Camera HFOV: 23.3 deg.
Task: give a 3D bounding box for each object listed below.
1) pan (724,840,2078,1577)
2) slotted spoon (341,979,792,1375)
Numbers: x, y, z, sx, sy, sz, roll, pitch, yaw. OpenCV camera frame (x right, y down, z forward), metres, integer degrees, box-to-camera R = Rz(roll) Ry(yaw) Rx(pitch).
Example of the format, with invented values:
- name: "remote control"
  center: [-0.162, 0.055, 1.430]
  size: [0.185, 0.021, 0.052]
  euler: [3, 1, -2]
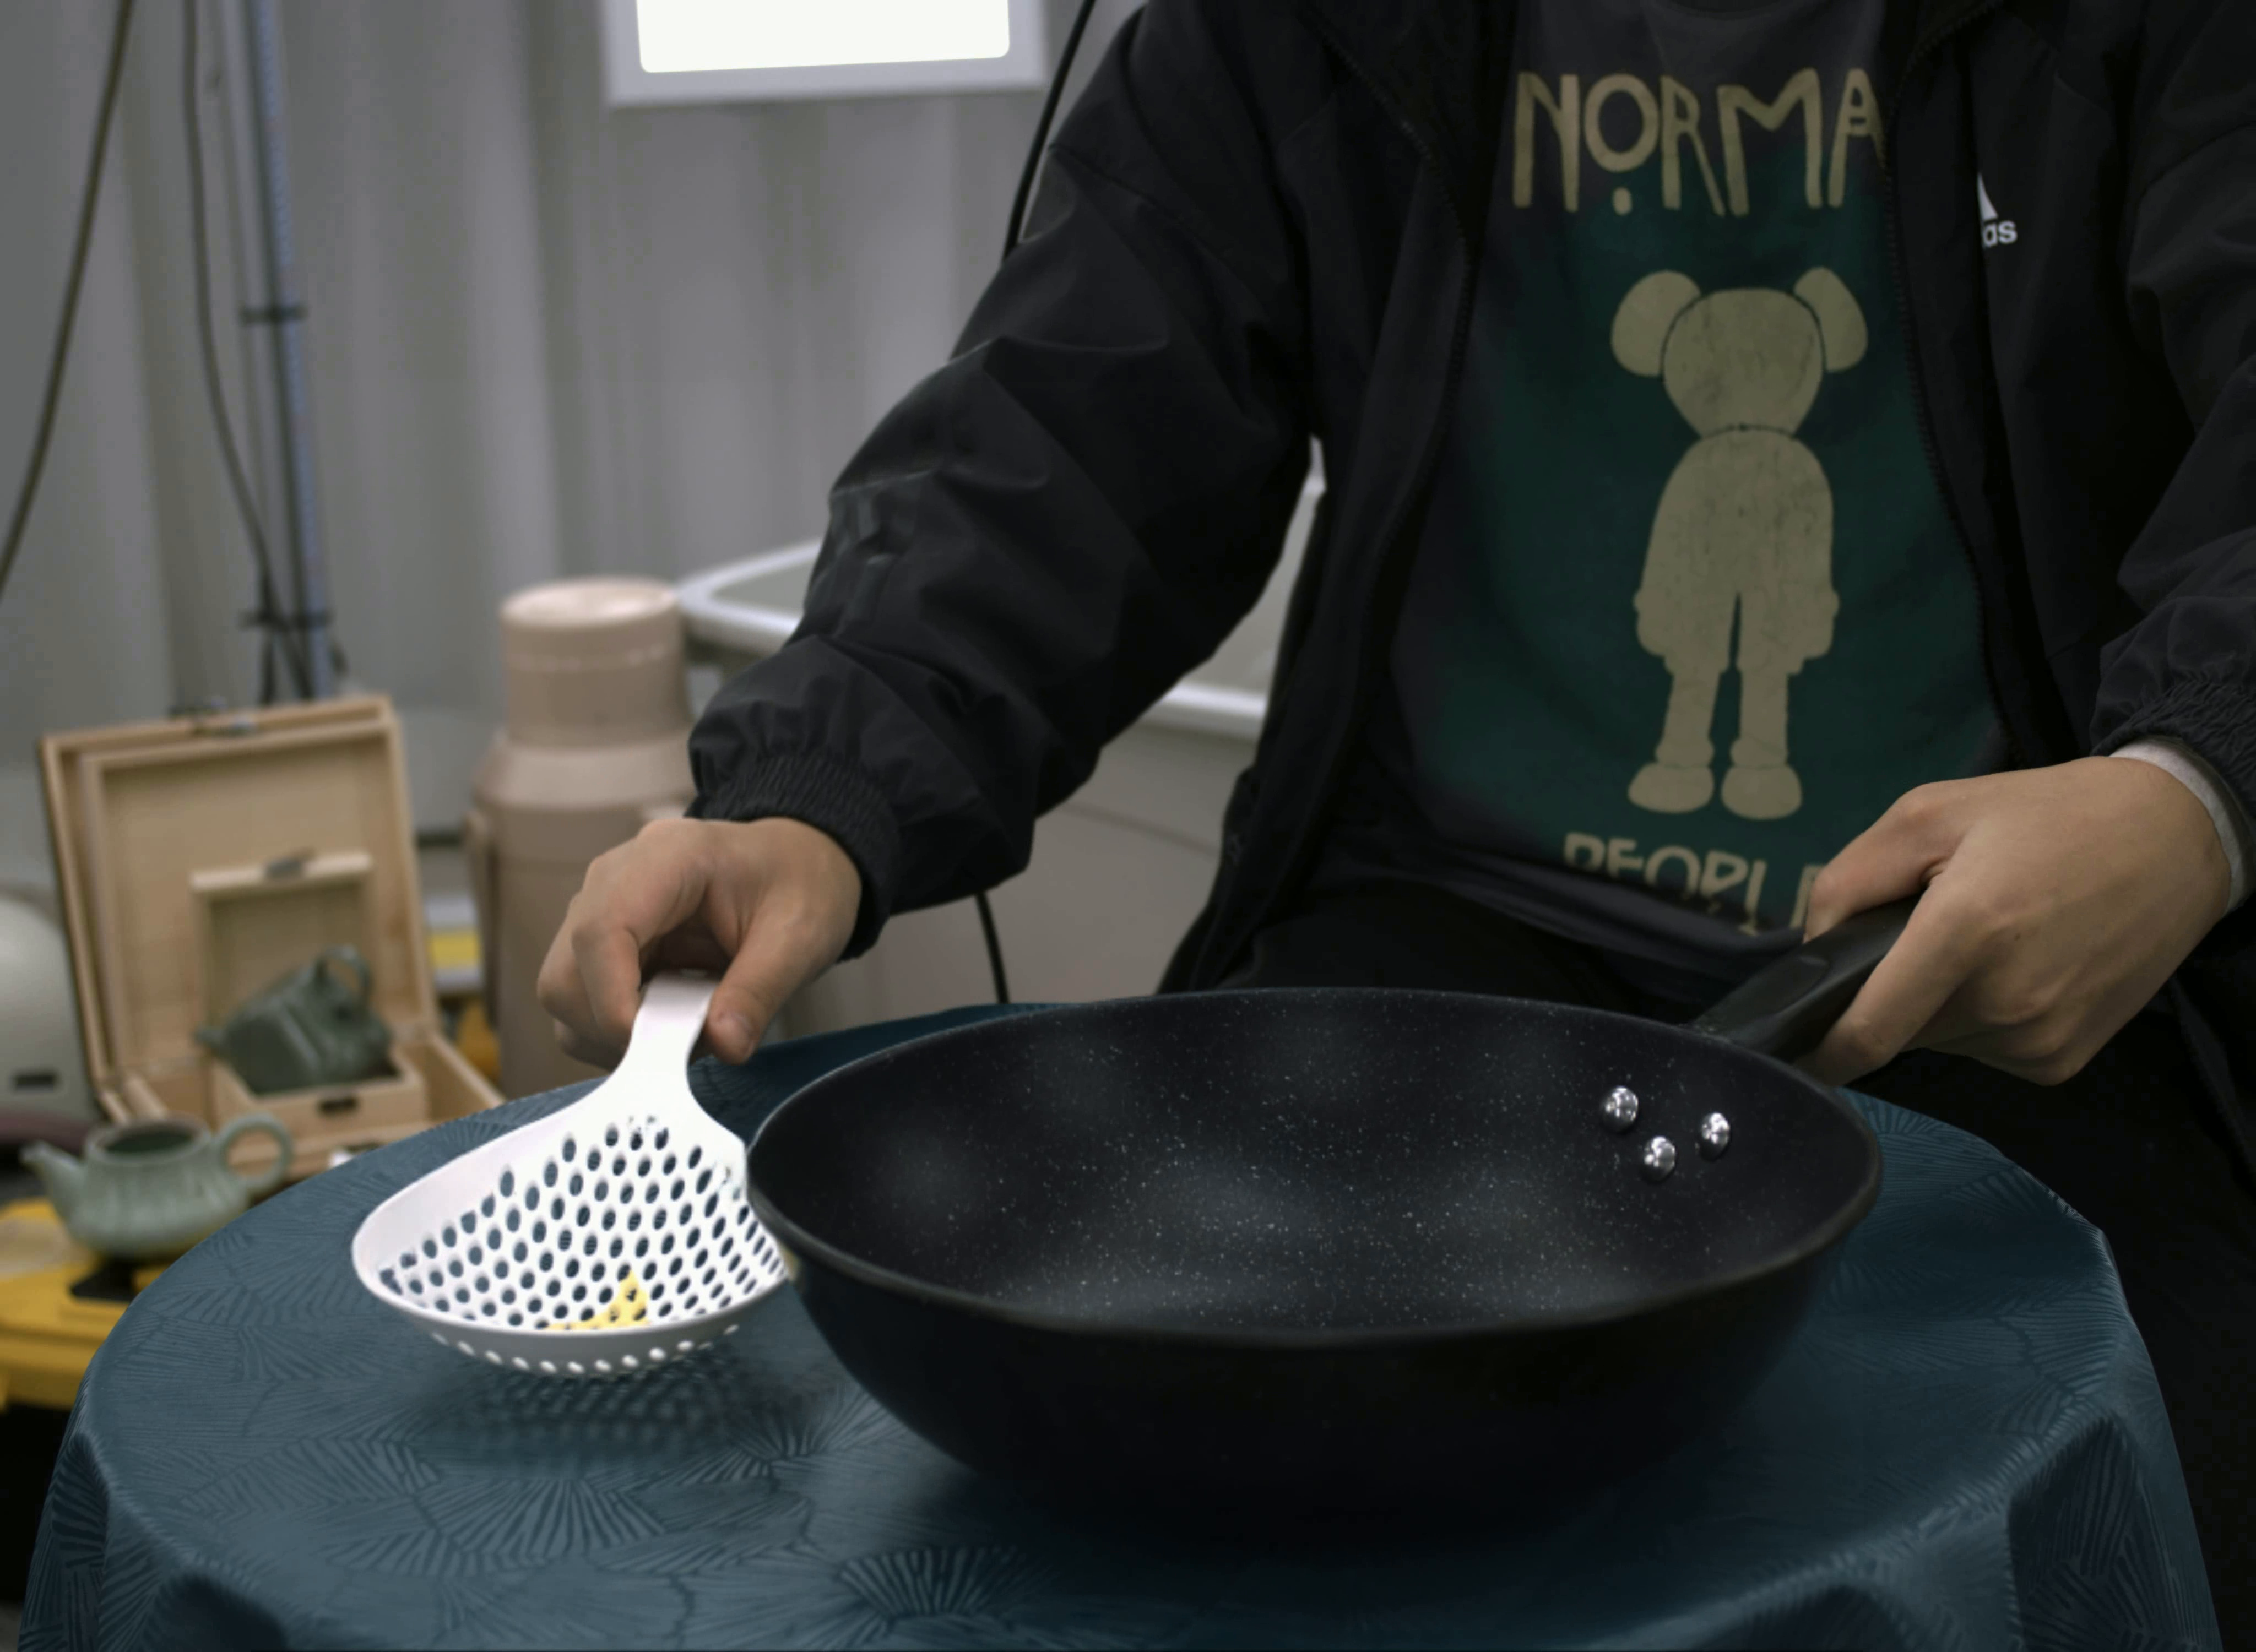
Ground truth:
- name: "pan"
  center: [0.107, 0.103, 1.534]
  size: [0.475, 0.111, 0.312]
  euler: [-15, 21, -40]
- name: "slotted spoon"
  center: [-0.151, 0.094, 1.686]
  size: [0.136, 0.050, 0.351]
  euler: [-1, 21, 4]
